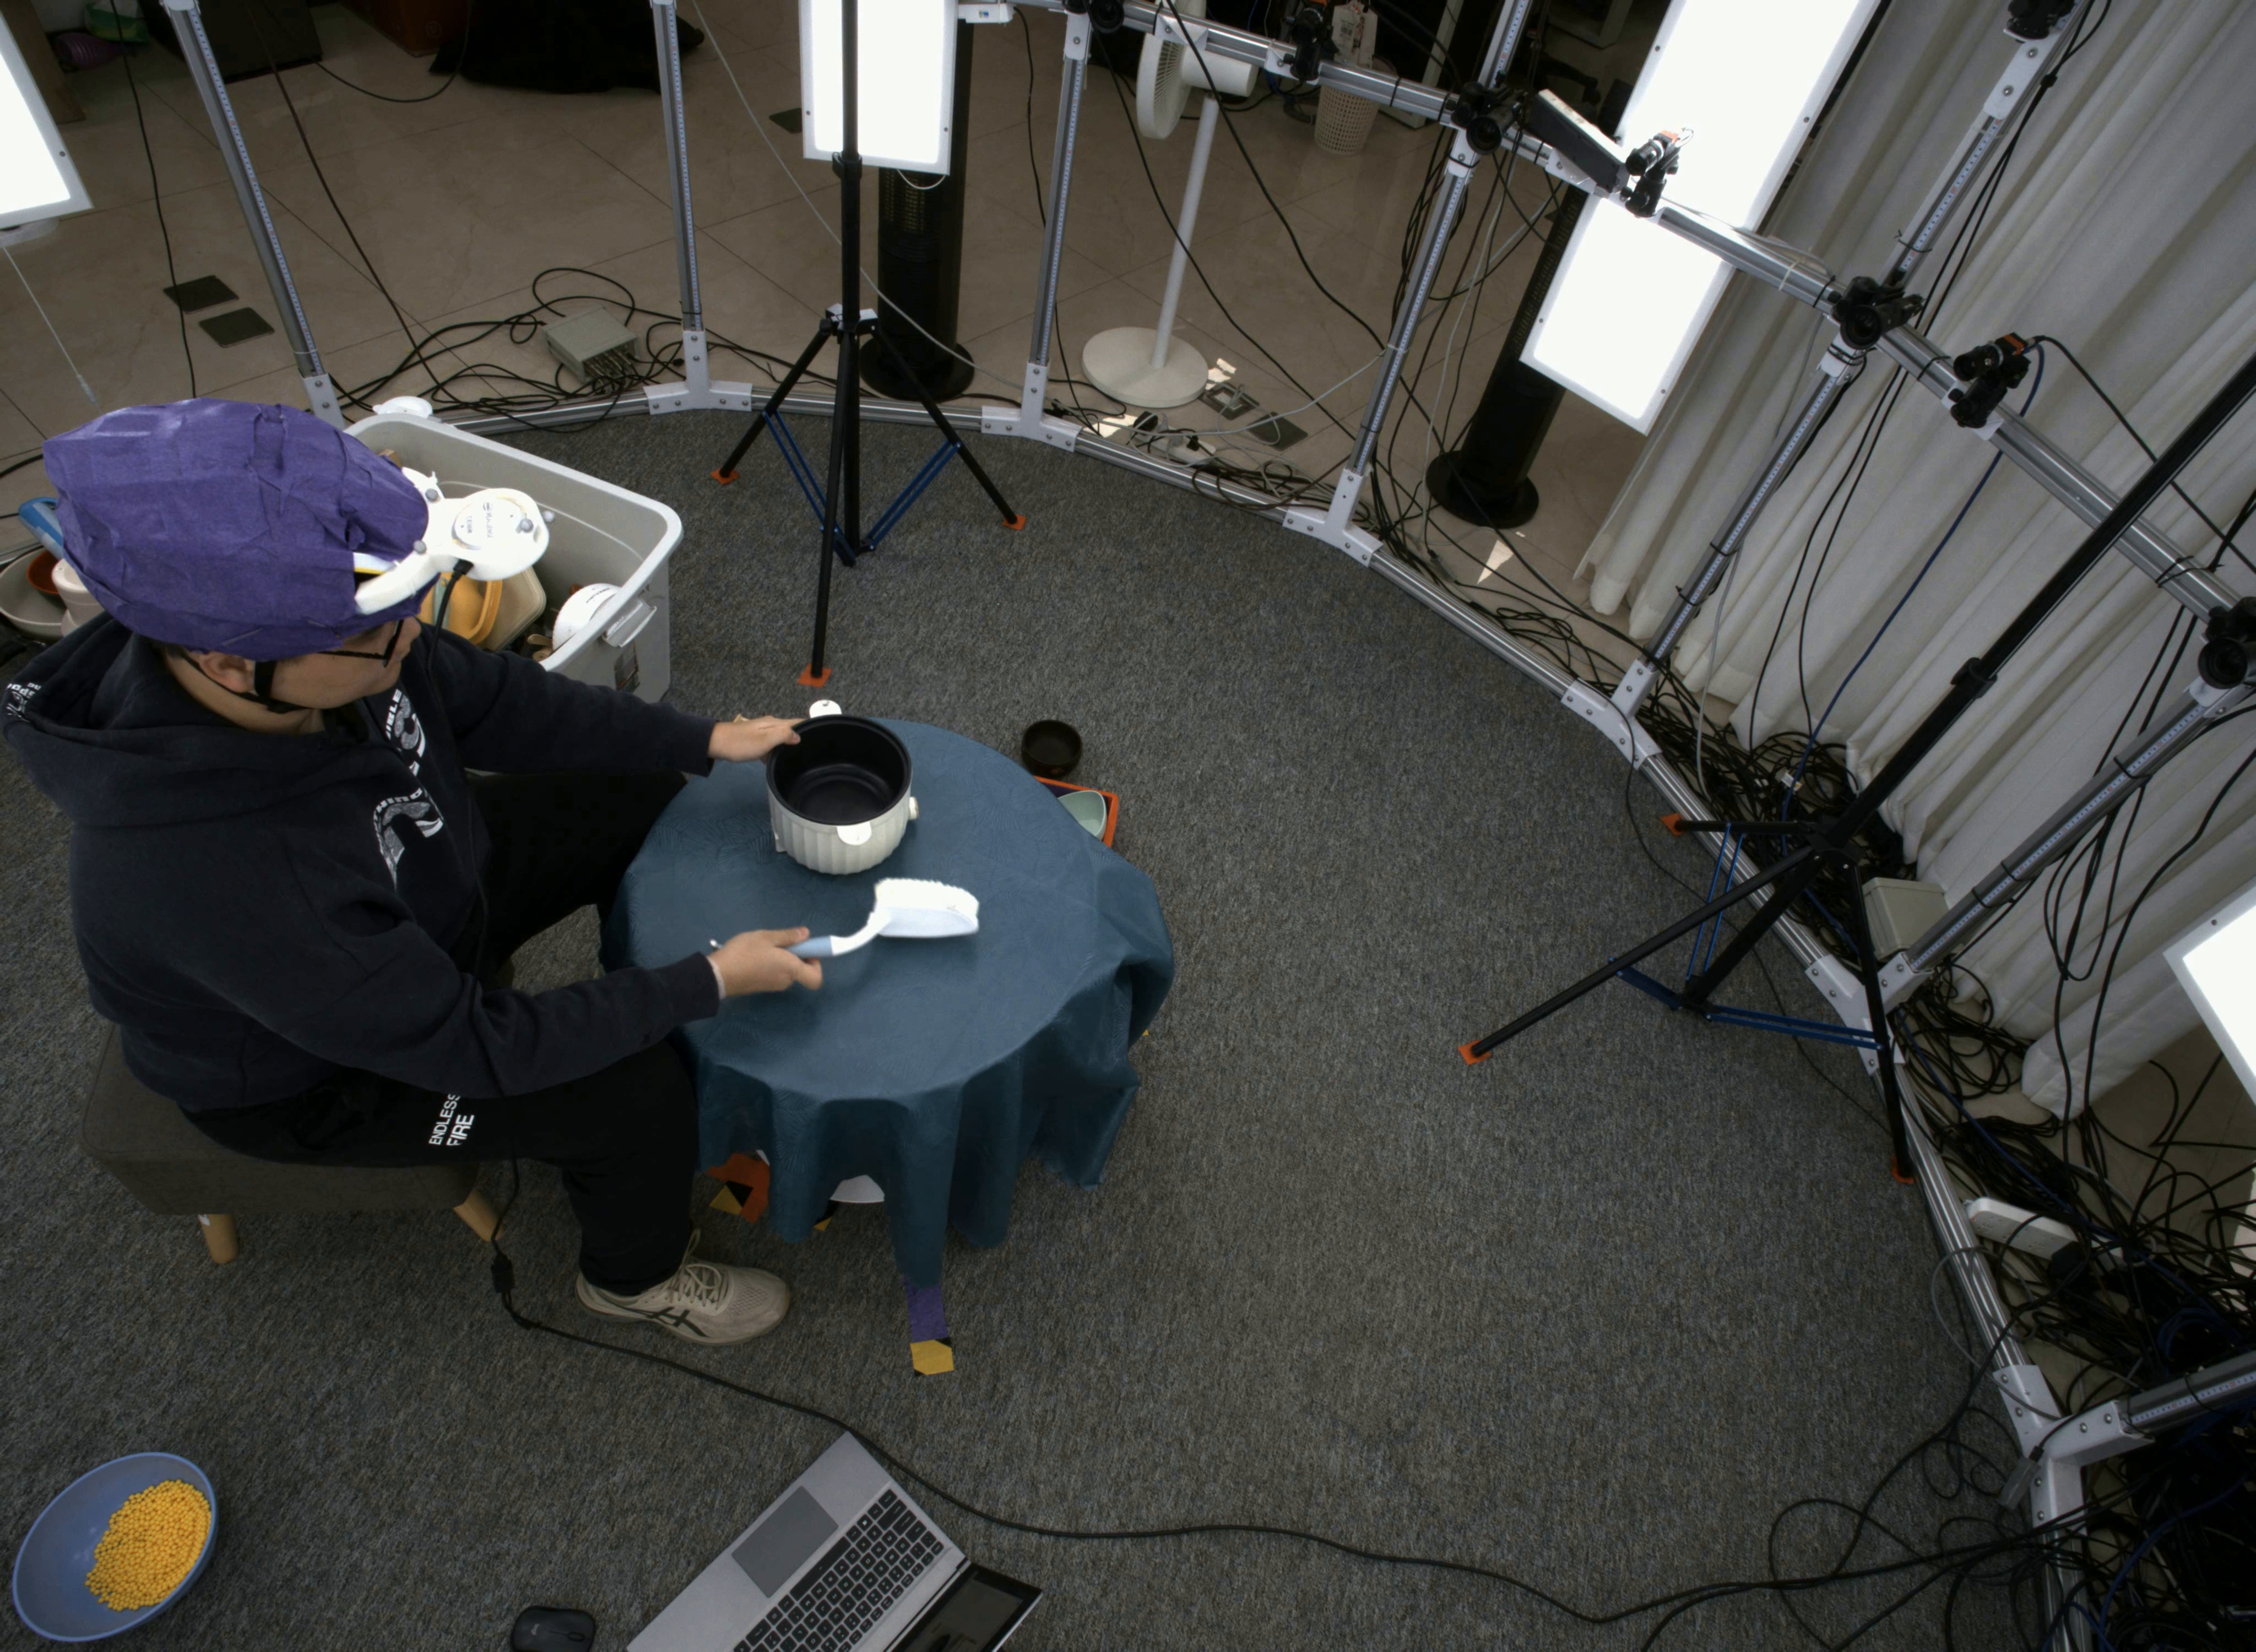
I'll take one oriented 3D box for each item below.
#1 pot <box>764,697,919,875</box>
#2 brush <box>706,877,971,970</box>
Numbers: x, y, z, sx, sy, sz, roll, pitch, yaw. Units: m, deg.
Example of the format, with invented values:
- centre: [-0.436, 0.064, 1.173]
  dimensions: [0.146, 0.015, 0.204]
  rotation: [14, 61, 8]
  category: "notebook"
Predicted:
- centre: [-0.366, -0.037, 1.673]
  dimensions: [0.191, 0.146, 0.234]
  rotation: [-12, 58, -17]
  category: "pot"
- centre: [-0.349, 0.107, 1.578]
  dimensions: [0.328, 0.085, 0.082]
  rotation: [-6, 12, -24]
  category: "brush"
